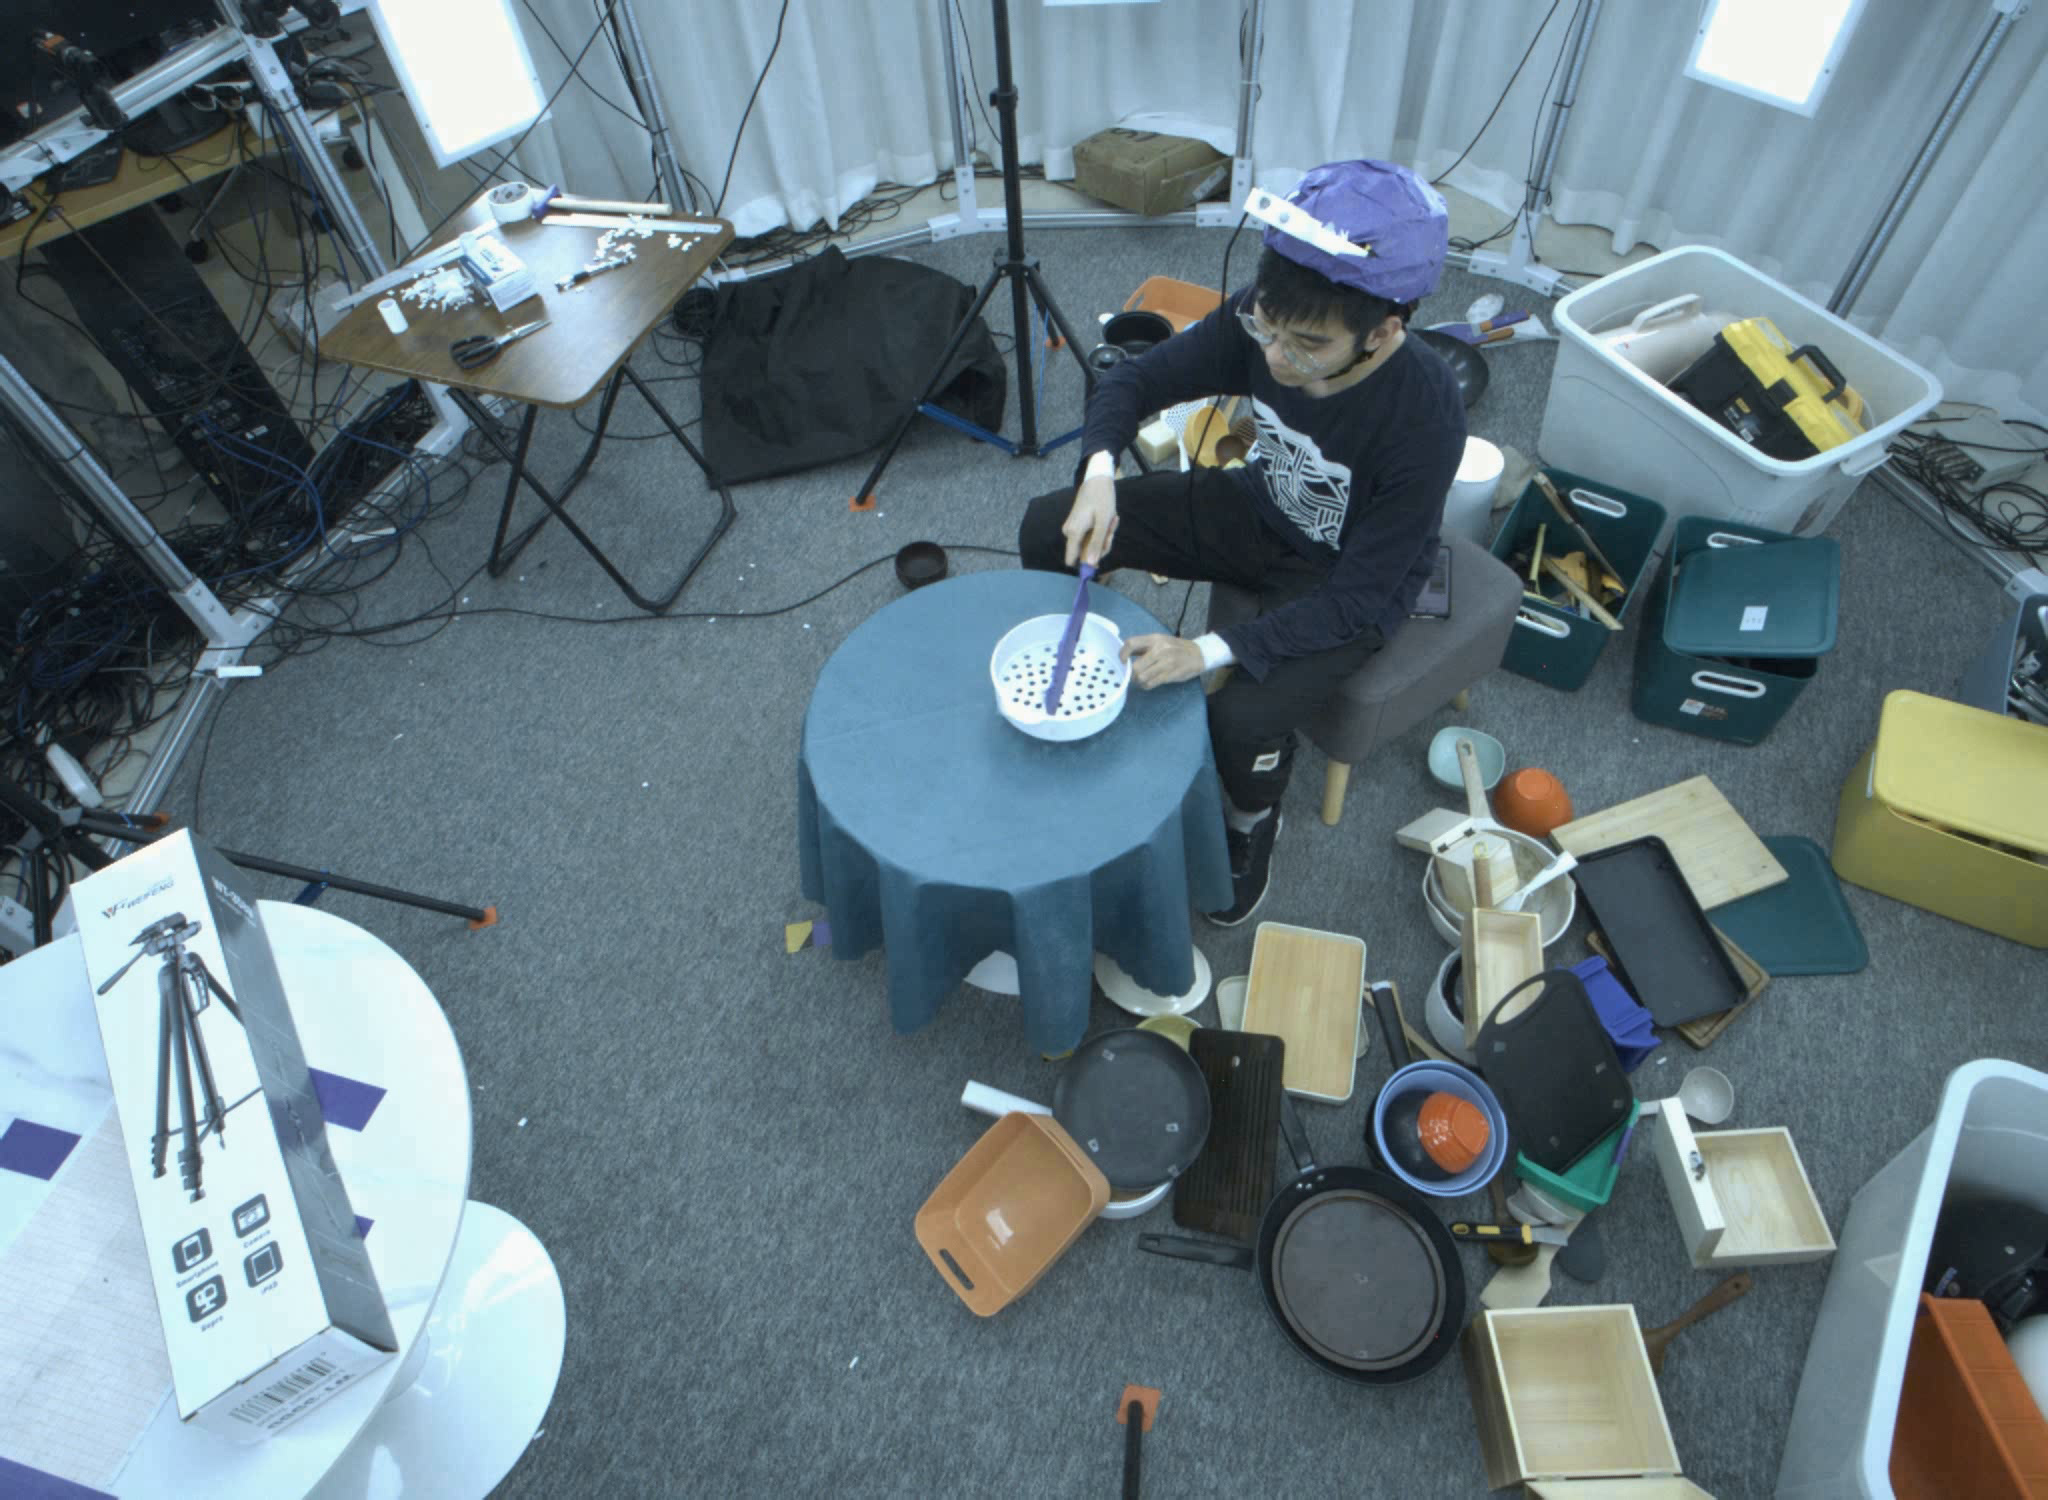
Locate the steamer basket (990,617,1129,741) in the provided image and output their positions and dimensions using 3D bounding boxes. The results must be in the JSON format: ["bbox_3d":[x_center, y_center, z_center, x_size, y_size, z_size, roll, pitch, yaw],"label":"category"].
[{"bbox_3d":[0.050,-0.102,1.798,0.199,0.070,0.232,30,55,18],"label":"steamer basket"}]

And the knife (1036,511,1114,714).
[{"bbox_3d":[0.071,-0.192,1.777,0.032,0.105,0.314,16,74,11],"label":"knife"}]
